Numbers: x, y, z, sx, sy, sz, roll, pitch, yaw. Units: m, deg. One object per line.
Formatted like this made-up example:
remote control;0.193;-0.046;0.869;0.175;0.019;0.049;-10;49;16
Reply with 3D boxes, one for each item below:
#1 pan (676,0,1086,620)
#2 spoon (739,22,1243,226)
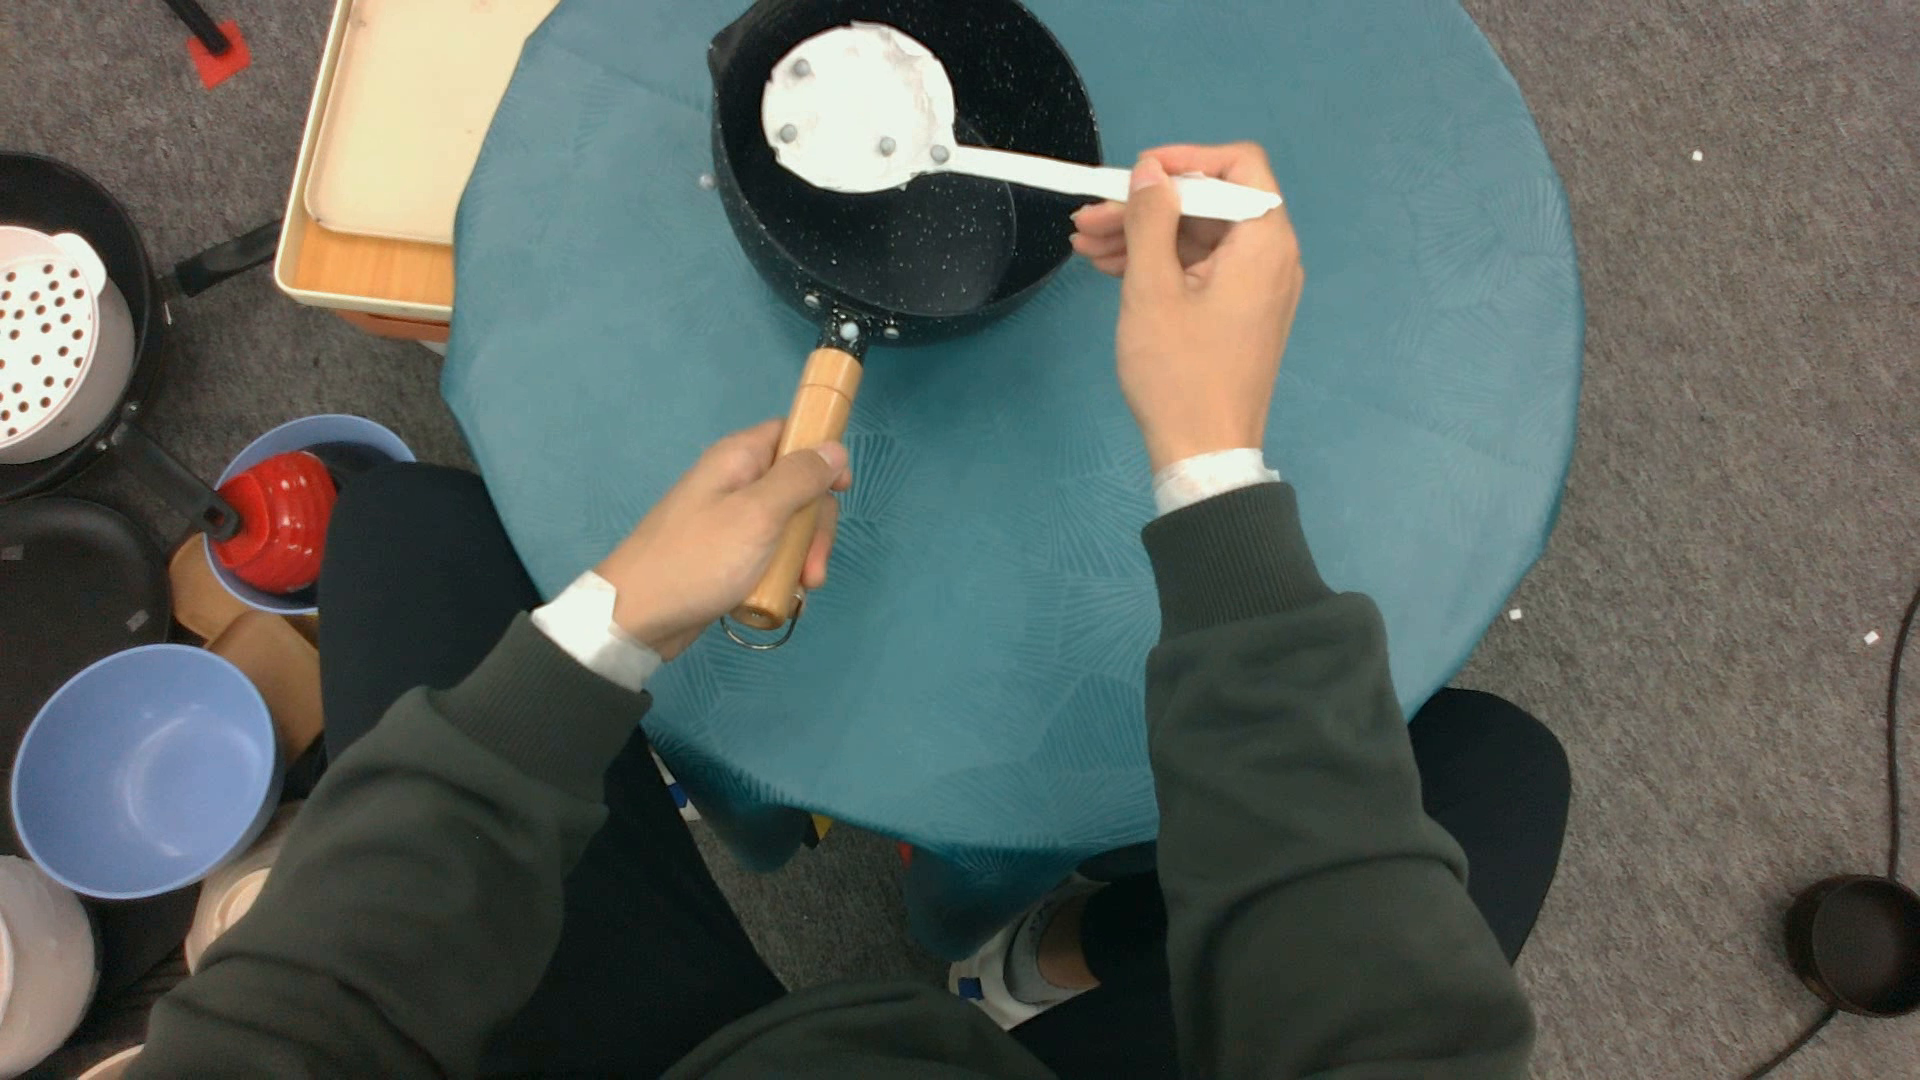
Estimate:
pan;-0.058;-0.114;0.649;0.207;0.108;0.344;18;70;-12
spoon;0.002;-0.179;0.602;0.277;0.059;0.101;25;73;44
